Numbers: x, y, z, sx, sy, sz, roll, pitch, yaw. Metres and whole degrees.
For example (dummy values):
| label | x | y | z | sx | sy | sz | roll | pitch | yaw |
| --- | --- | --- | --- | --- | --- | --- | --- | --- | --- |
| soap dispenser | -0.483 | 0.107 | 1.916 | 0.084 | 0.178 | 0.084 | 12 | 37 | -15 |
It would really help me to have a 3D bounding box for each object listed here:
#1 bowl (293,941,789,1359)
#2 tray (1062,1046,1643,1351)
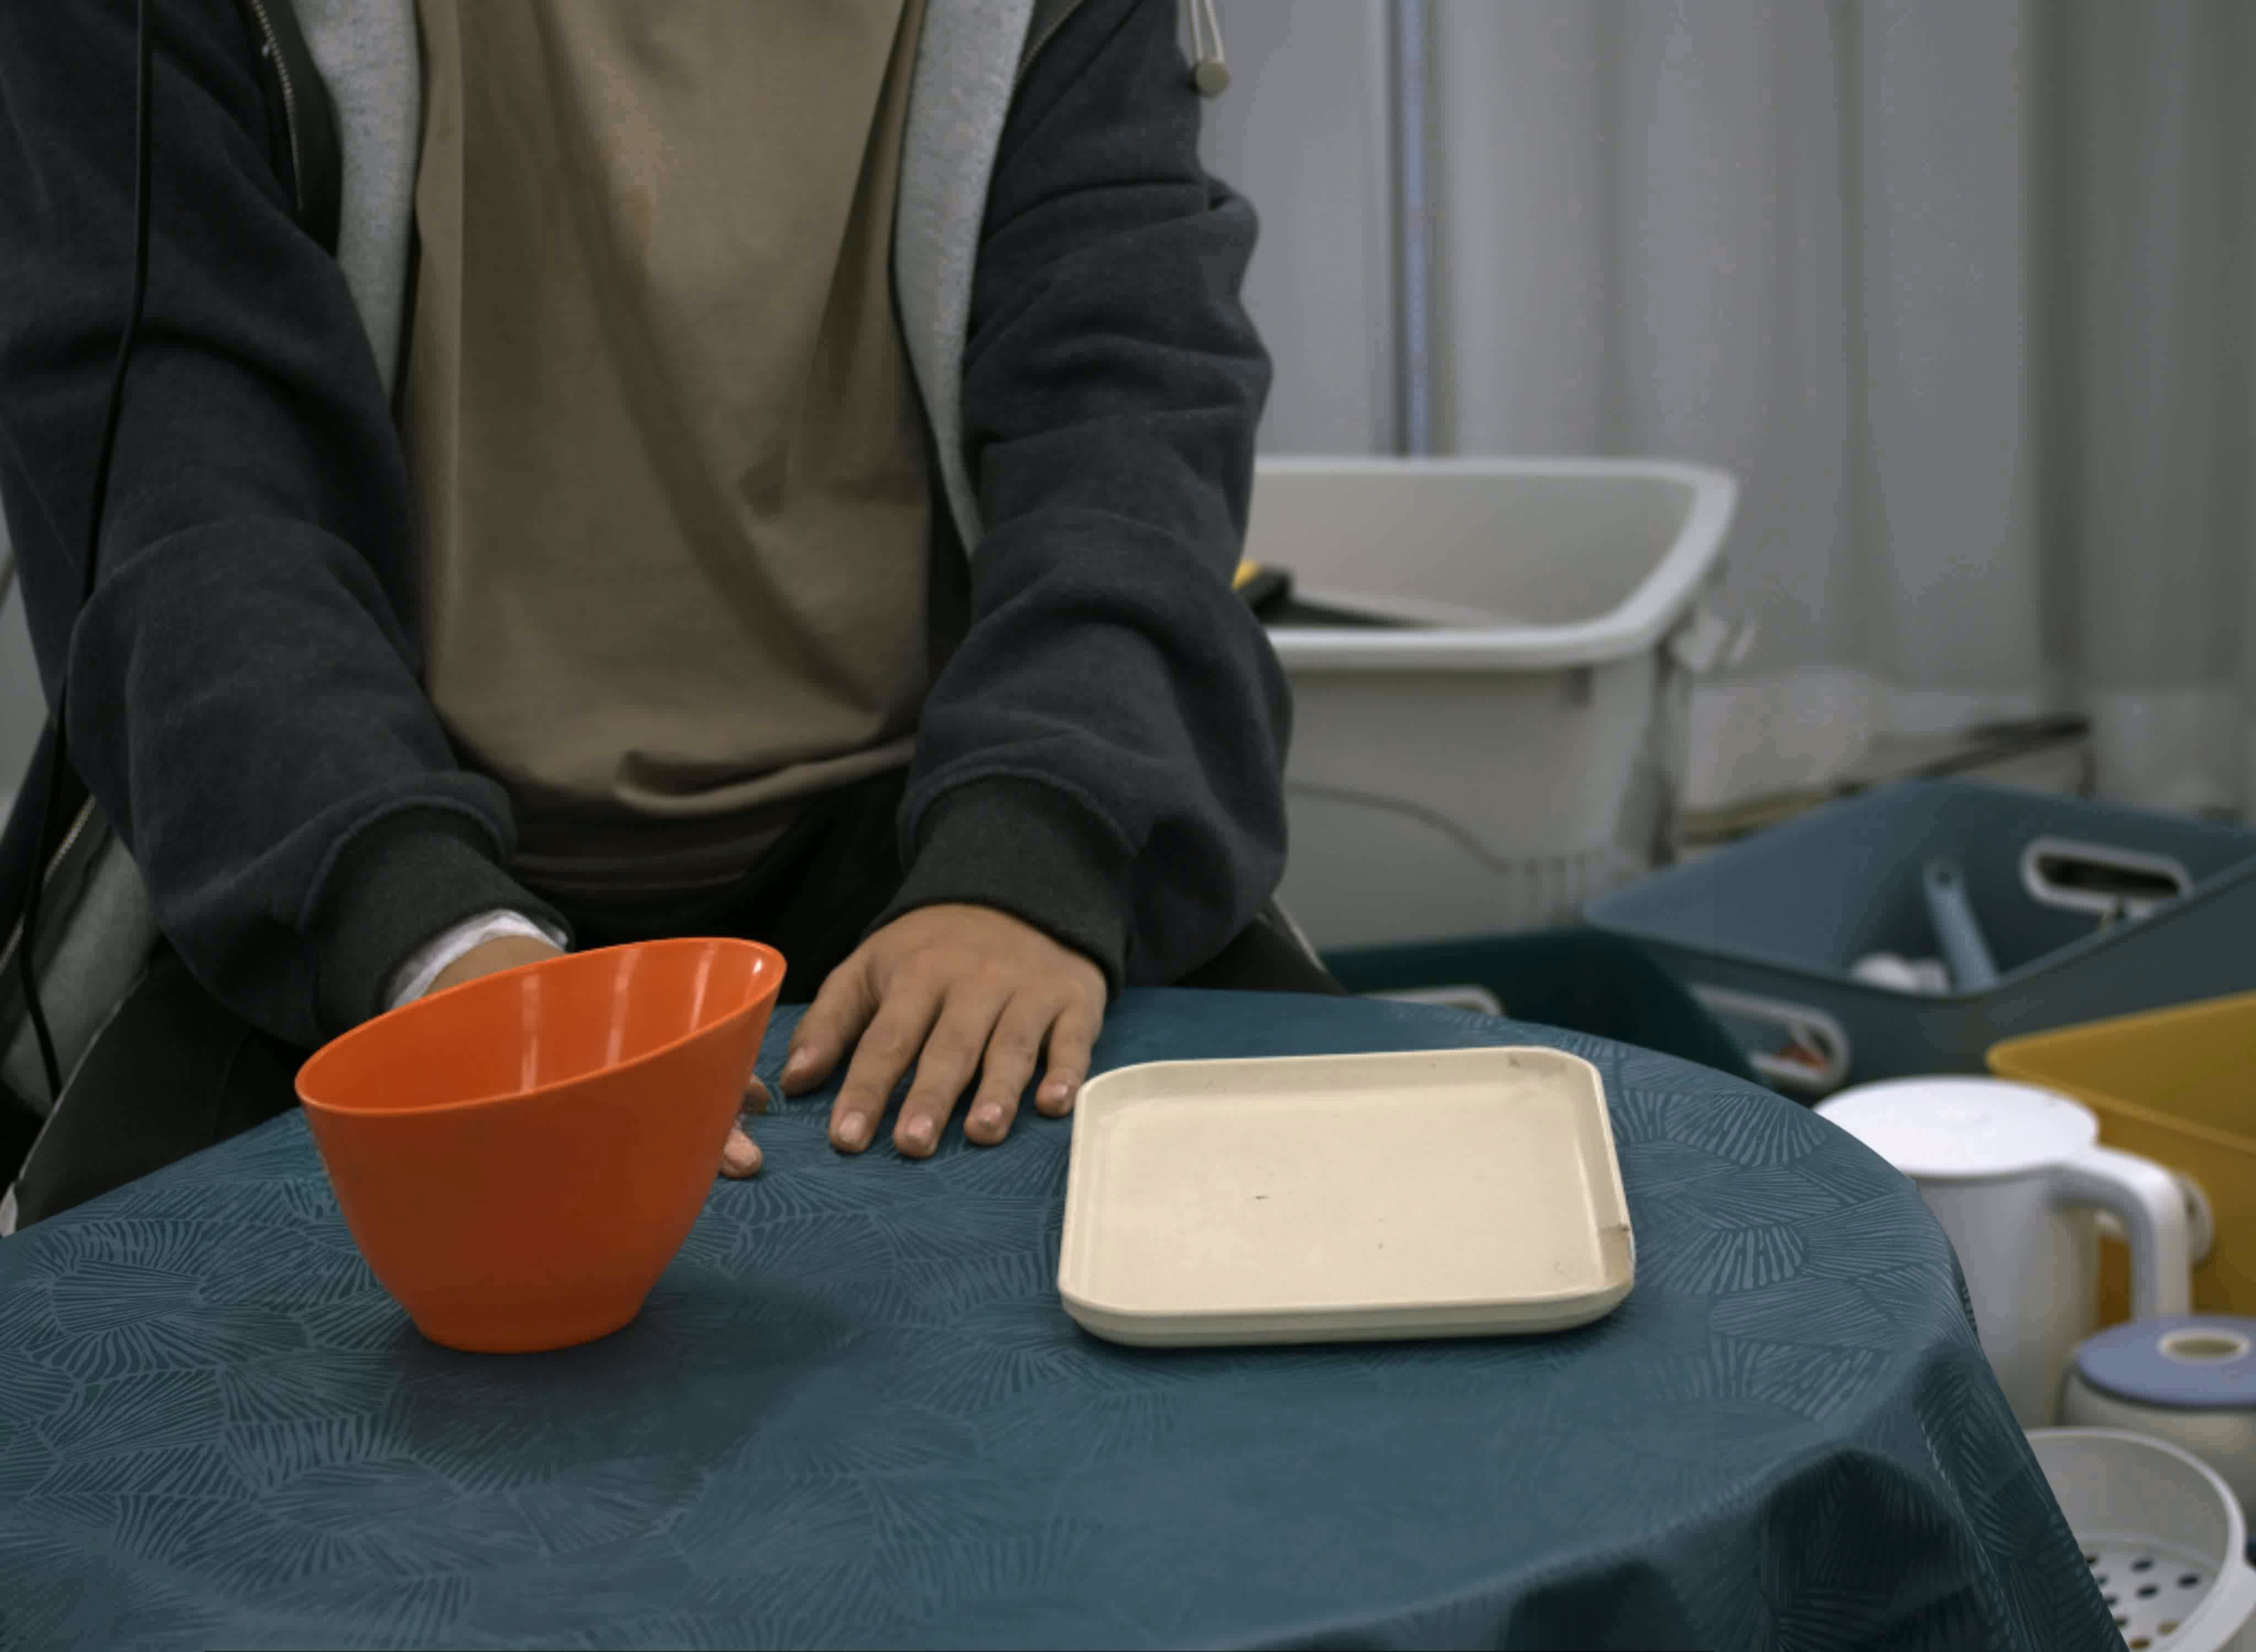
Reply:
| label | x | y | z | sx | sy | sz | roll | pitch | yaw |
| --- | --- | --- | --- | --- | --- | --- | --- | --- | --- |
| bowl | -0.171 | 0.098 | 1.618 | 0.147 | 0.104 | 0.149 | -3 | 15 | 0 |
| tray | 0.066 | 0.113 | 1.675 | 0.171 | 0.017 | 0.241 | -3 | 15 | 2 |
